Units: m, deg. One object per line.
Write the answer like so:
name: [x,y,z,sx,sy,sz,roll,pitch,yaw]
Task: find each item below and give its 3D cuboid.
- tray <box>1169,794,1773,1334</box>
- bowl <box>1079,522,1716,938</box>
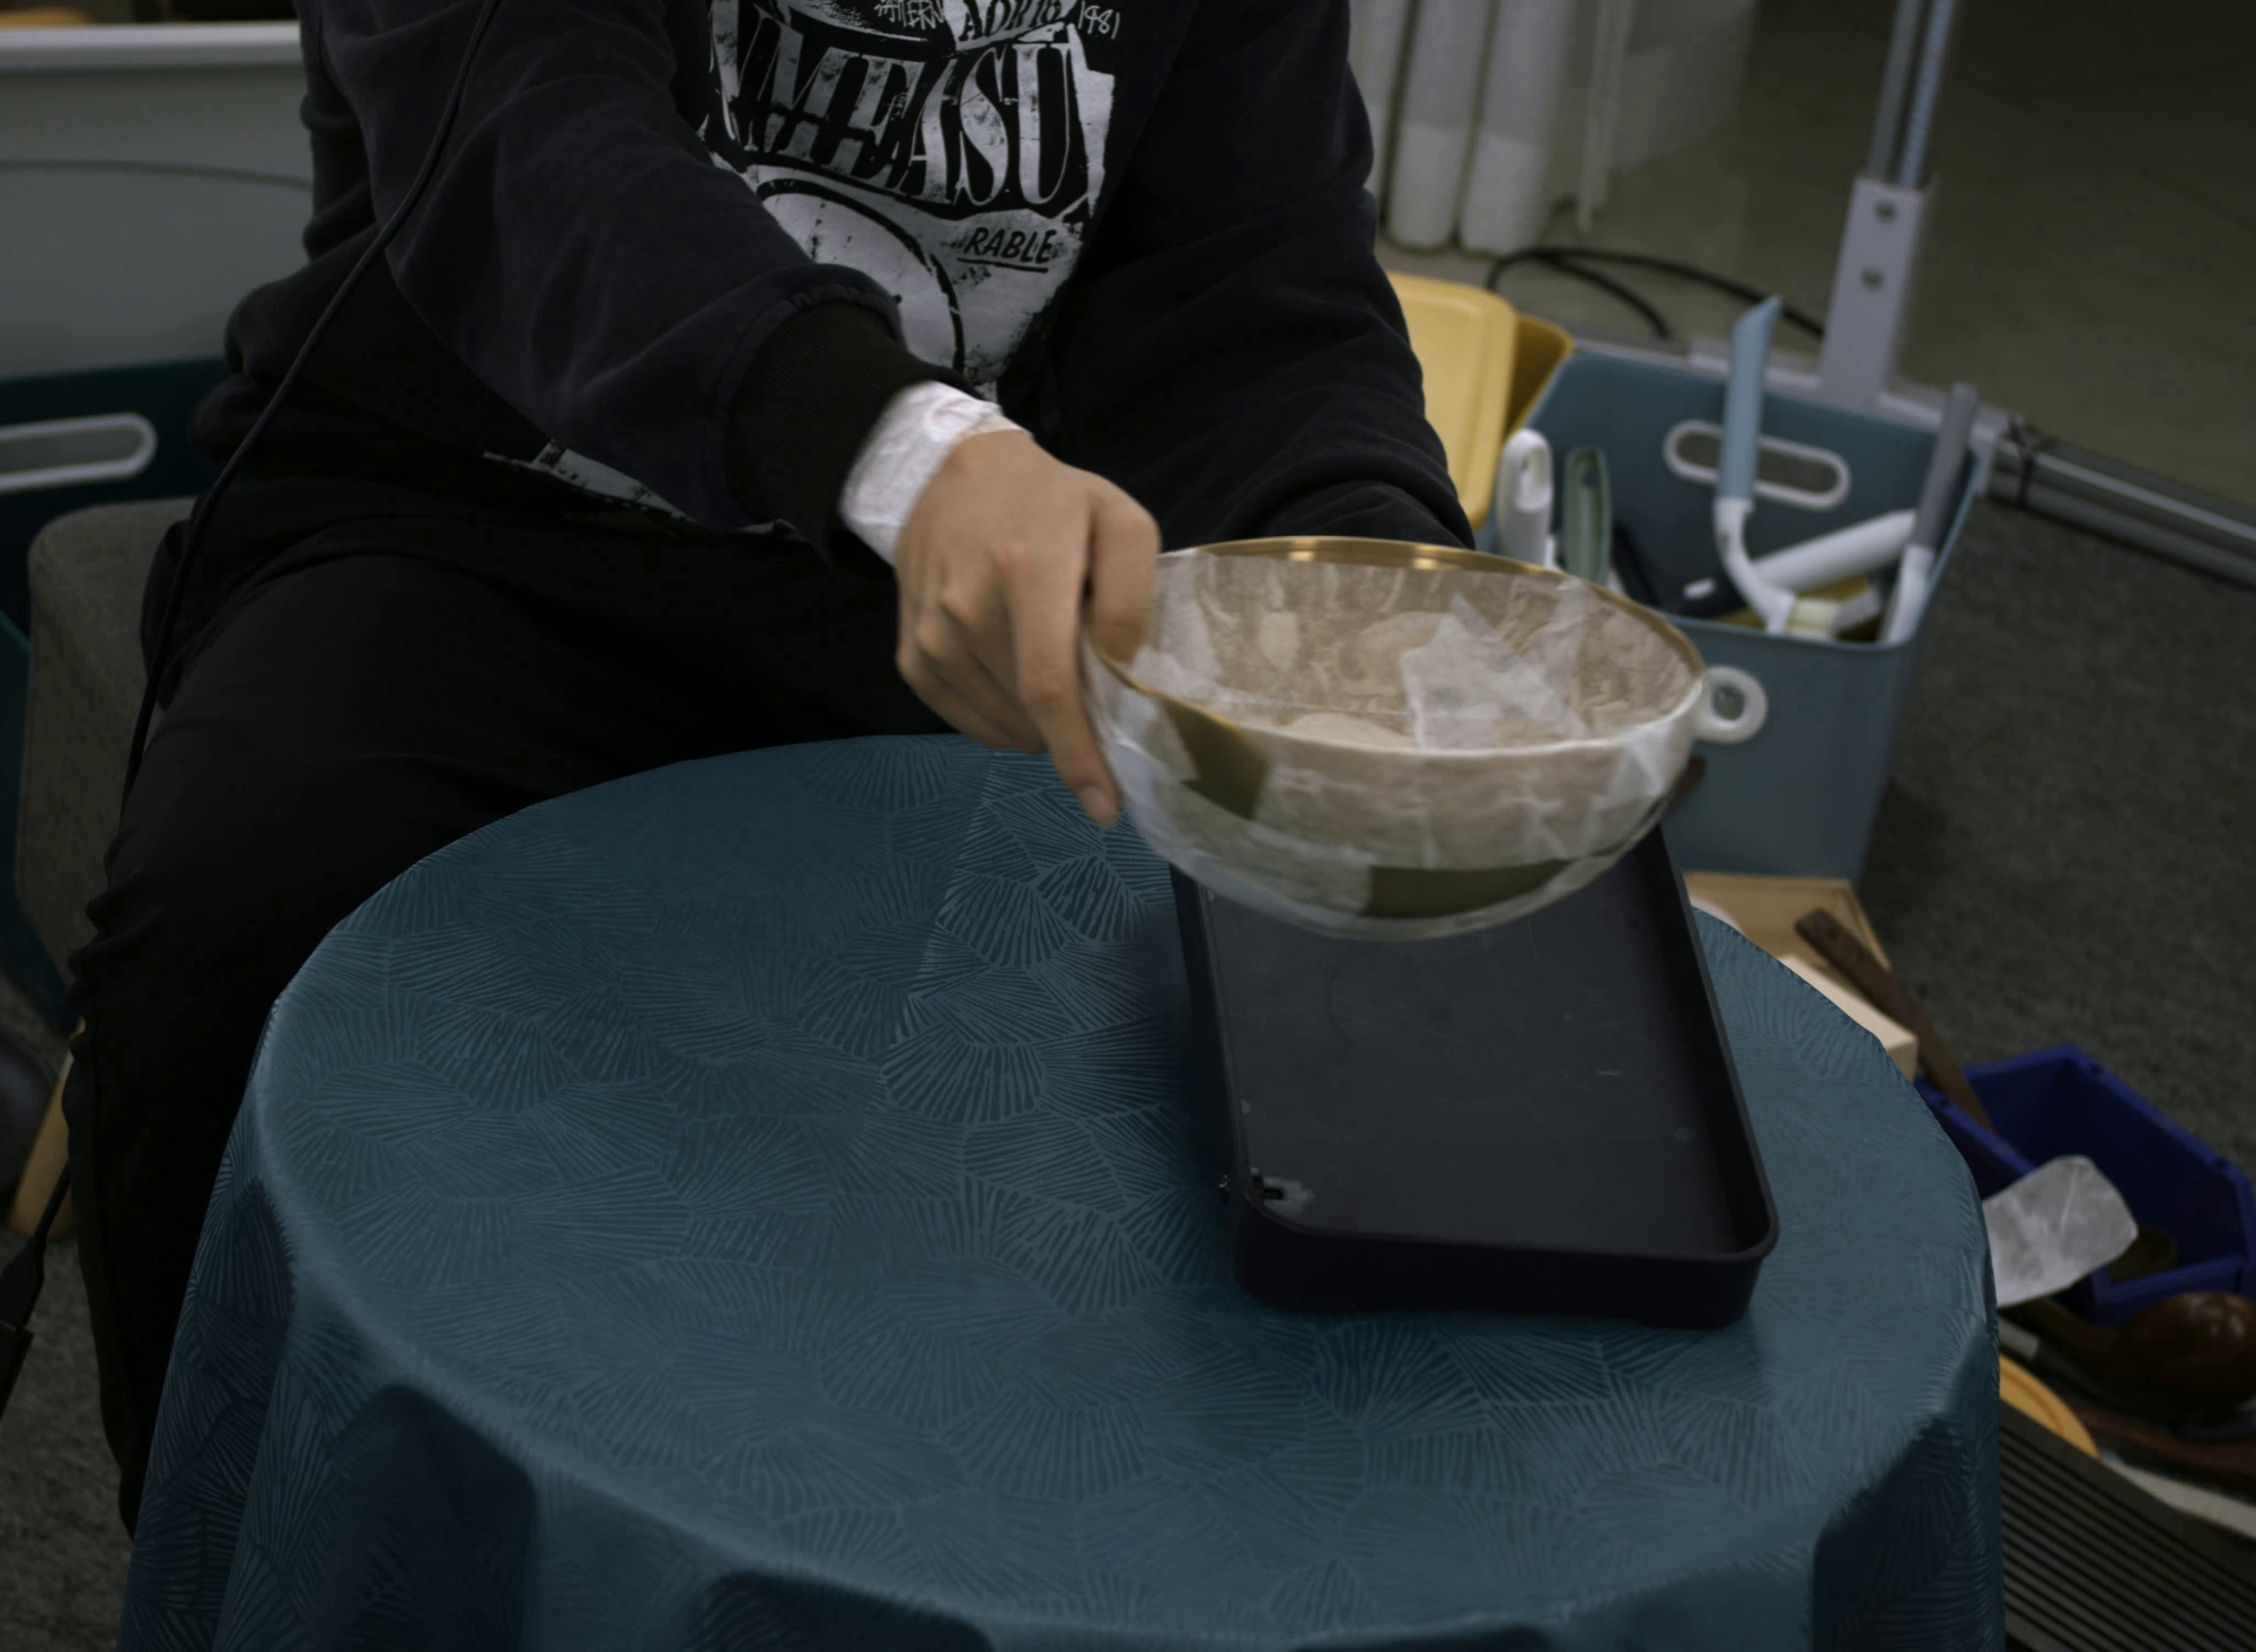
tray: [0.111,0.056,1.863,0.183,0.037,0.320,5,36,-8]
bowl: [0.084,-0.022,1.708,0.214,0.094,0.216,3,22,-1]
